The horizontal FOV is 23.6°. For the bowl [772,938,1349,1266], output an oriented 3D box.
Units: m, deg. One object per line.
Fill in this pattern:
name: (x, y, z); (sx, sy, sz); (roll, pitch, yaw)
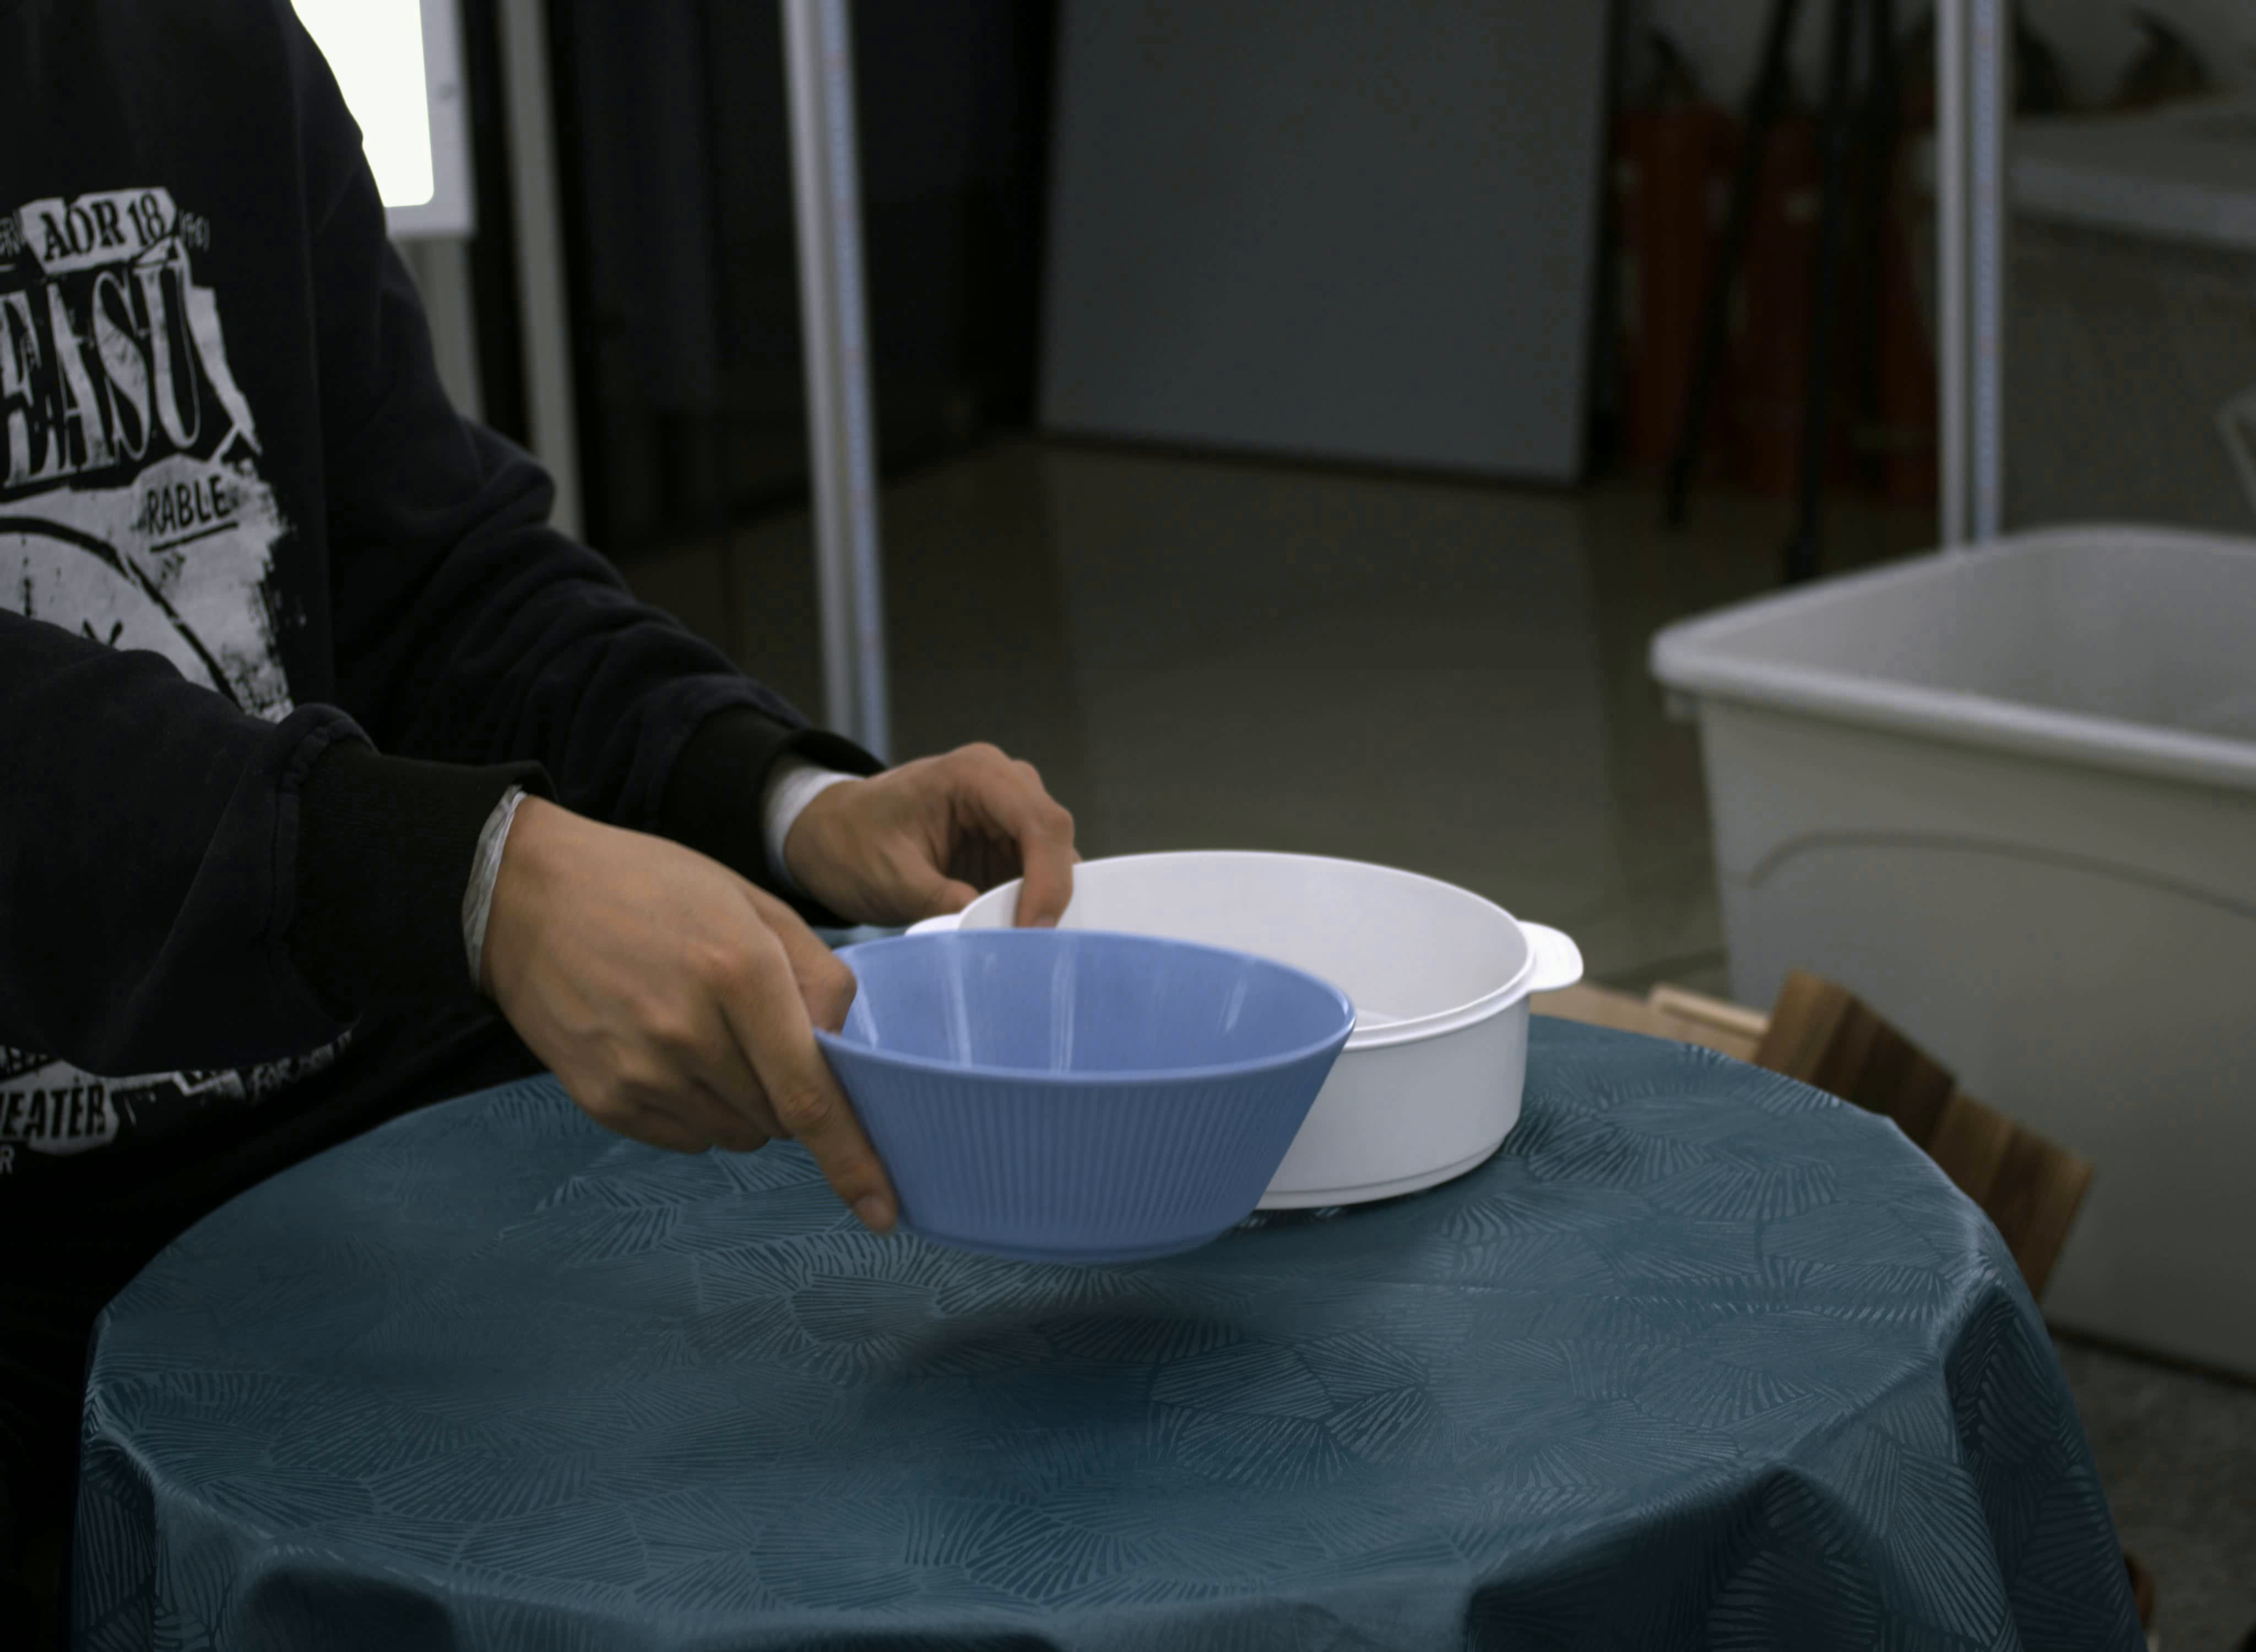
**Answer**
bowl: (-0.021, 0.084, 1.620); (0.173, 0.071, 0.176); (2, 11, -1)

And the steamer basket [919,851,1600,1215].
steamer basket: (0.042, 0.069, 1.806); (0.227, 0.070, 0.202); (3, 17, -1)
